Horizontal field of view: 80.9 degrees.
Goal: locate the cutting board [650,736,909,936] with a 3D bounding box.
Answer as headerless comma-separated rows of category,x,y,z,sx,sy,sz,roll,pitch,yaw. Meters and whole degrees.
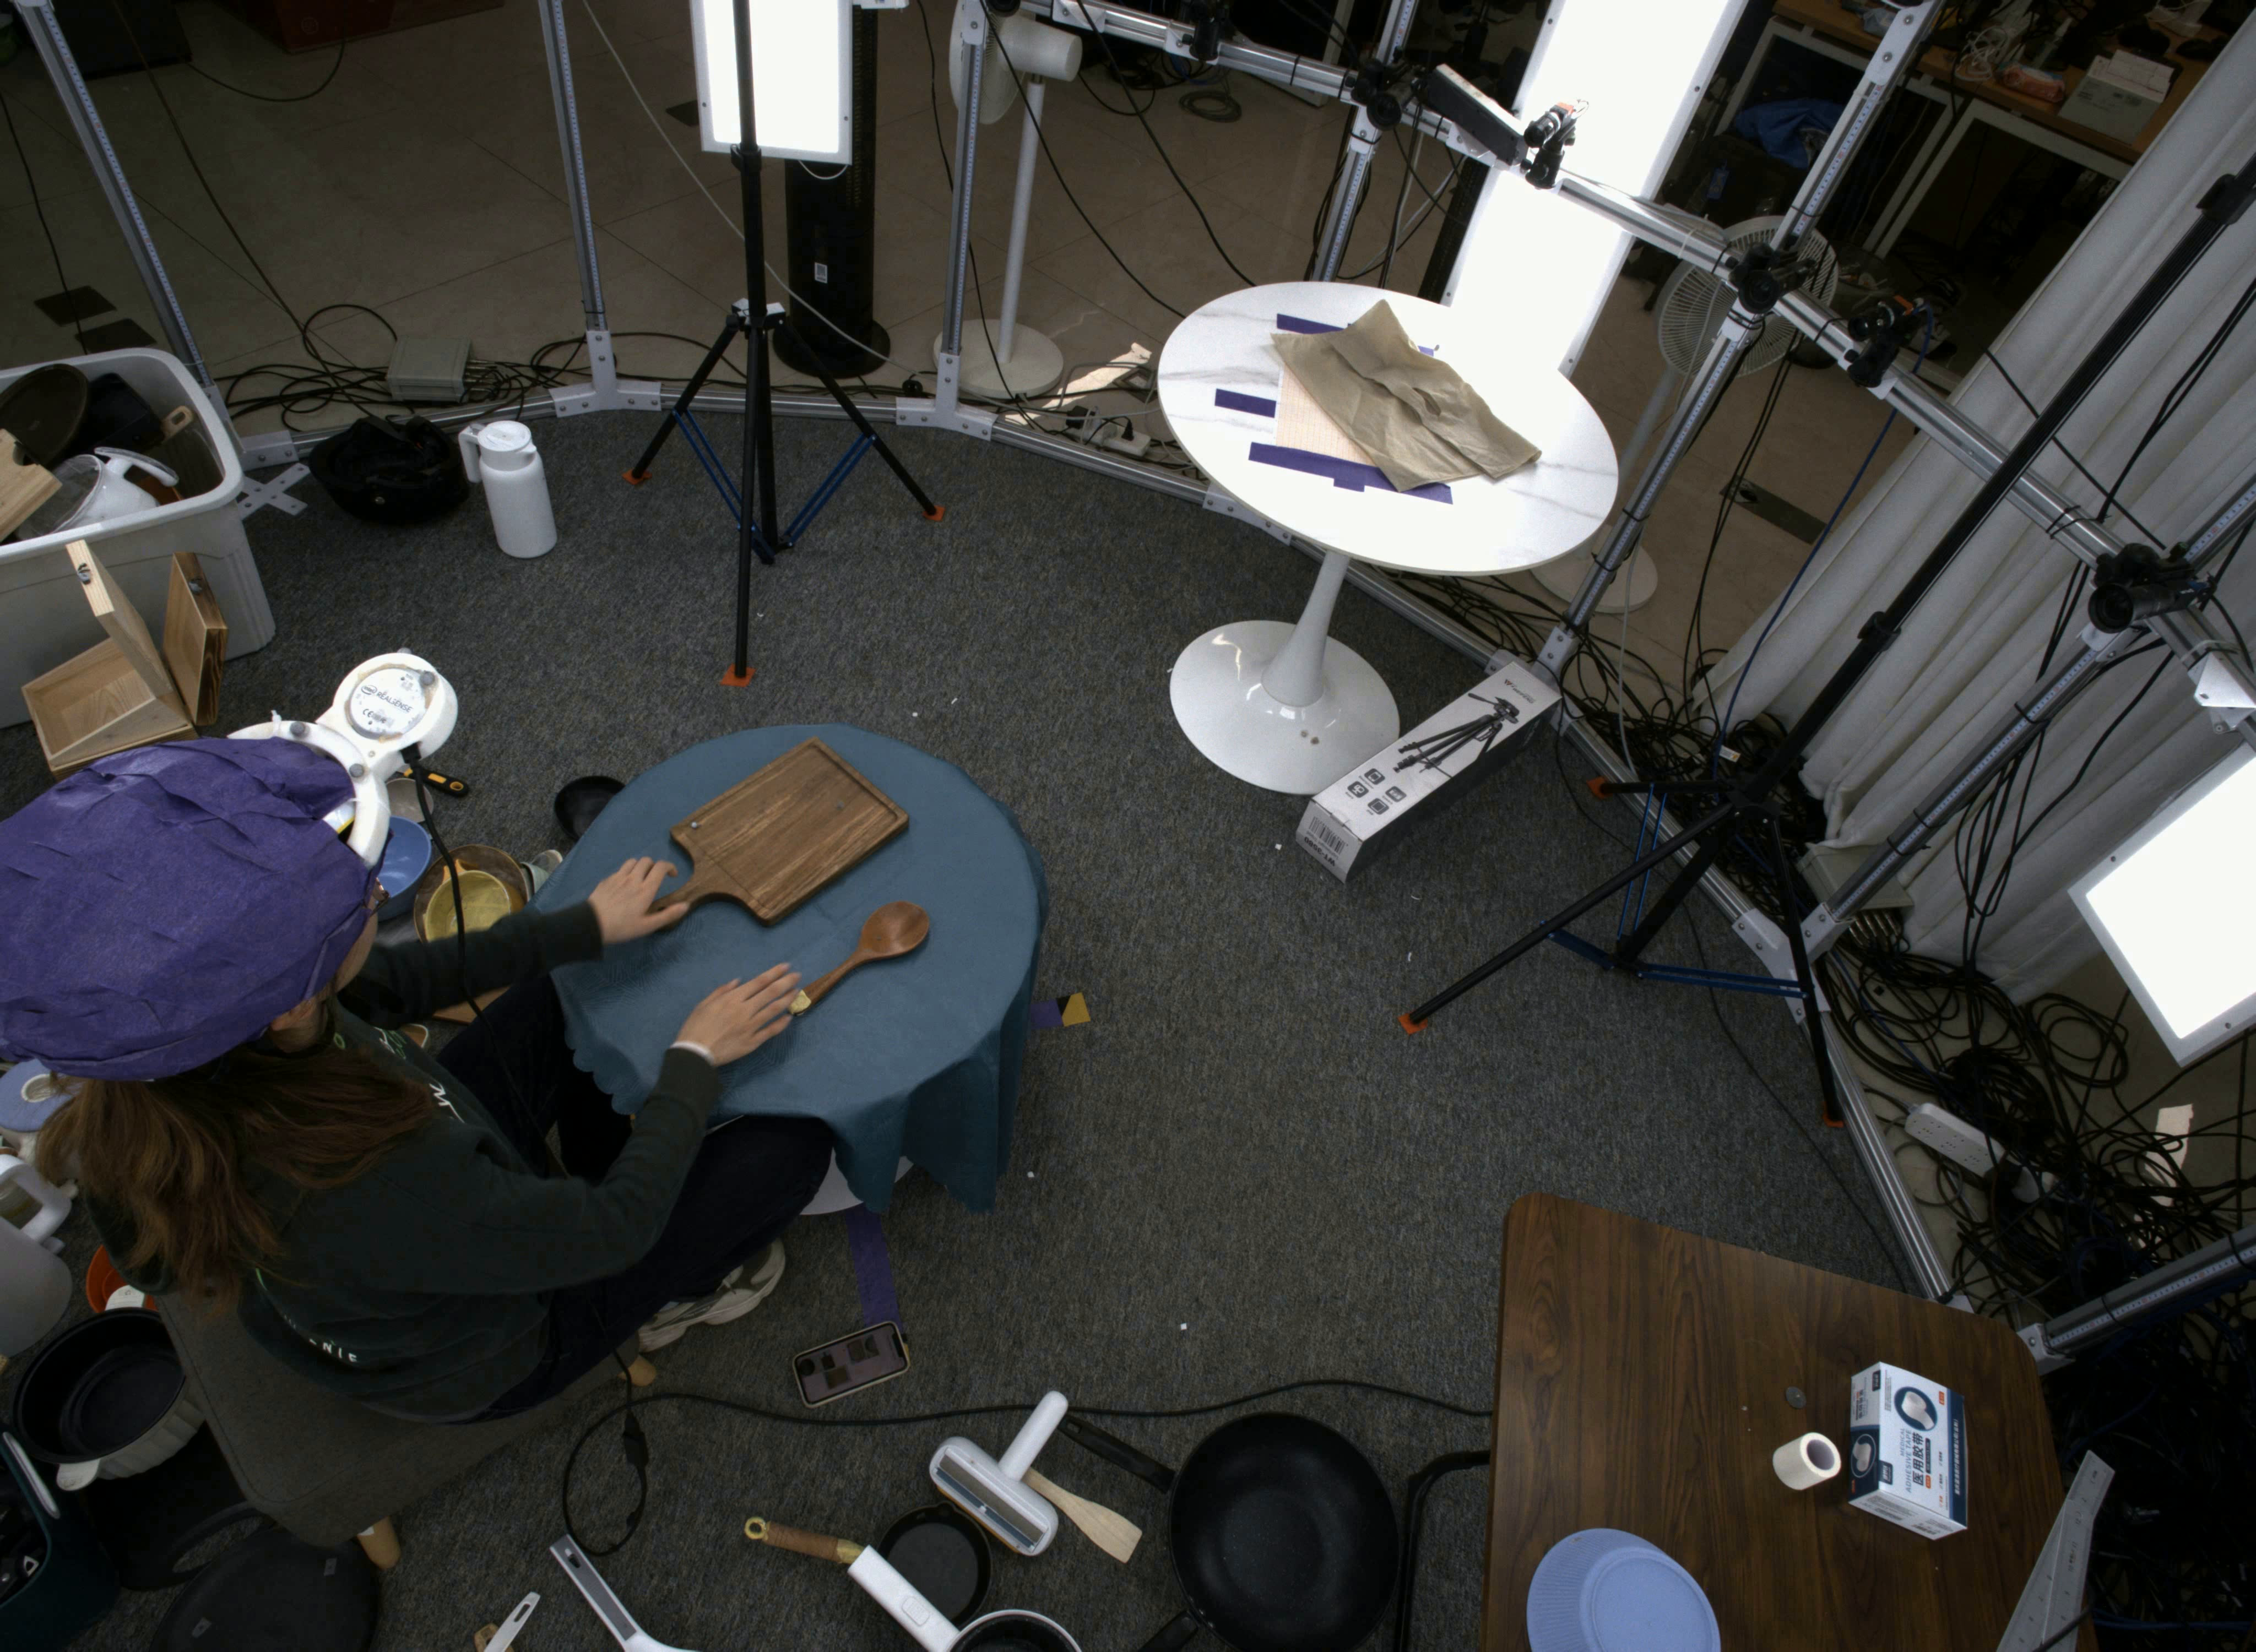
cutting board,-0.476,0.027,1.684,0.197,0.023,0.352,40,55,14

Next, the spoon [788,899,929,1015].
spoon,-0.337,0.163,1.619,0.074,0.017,0.216,41,54,14
